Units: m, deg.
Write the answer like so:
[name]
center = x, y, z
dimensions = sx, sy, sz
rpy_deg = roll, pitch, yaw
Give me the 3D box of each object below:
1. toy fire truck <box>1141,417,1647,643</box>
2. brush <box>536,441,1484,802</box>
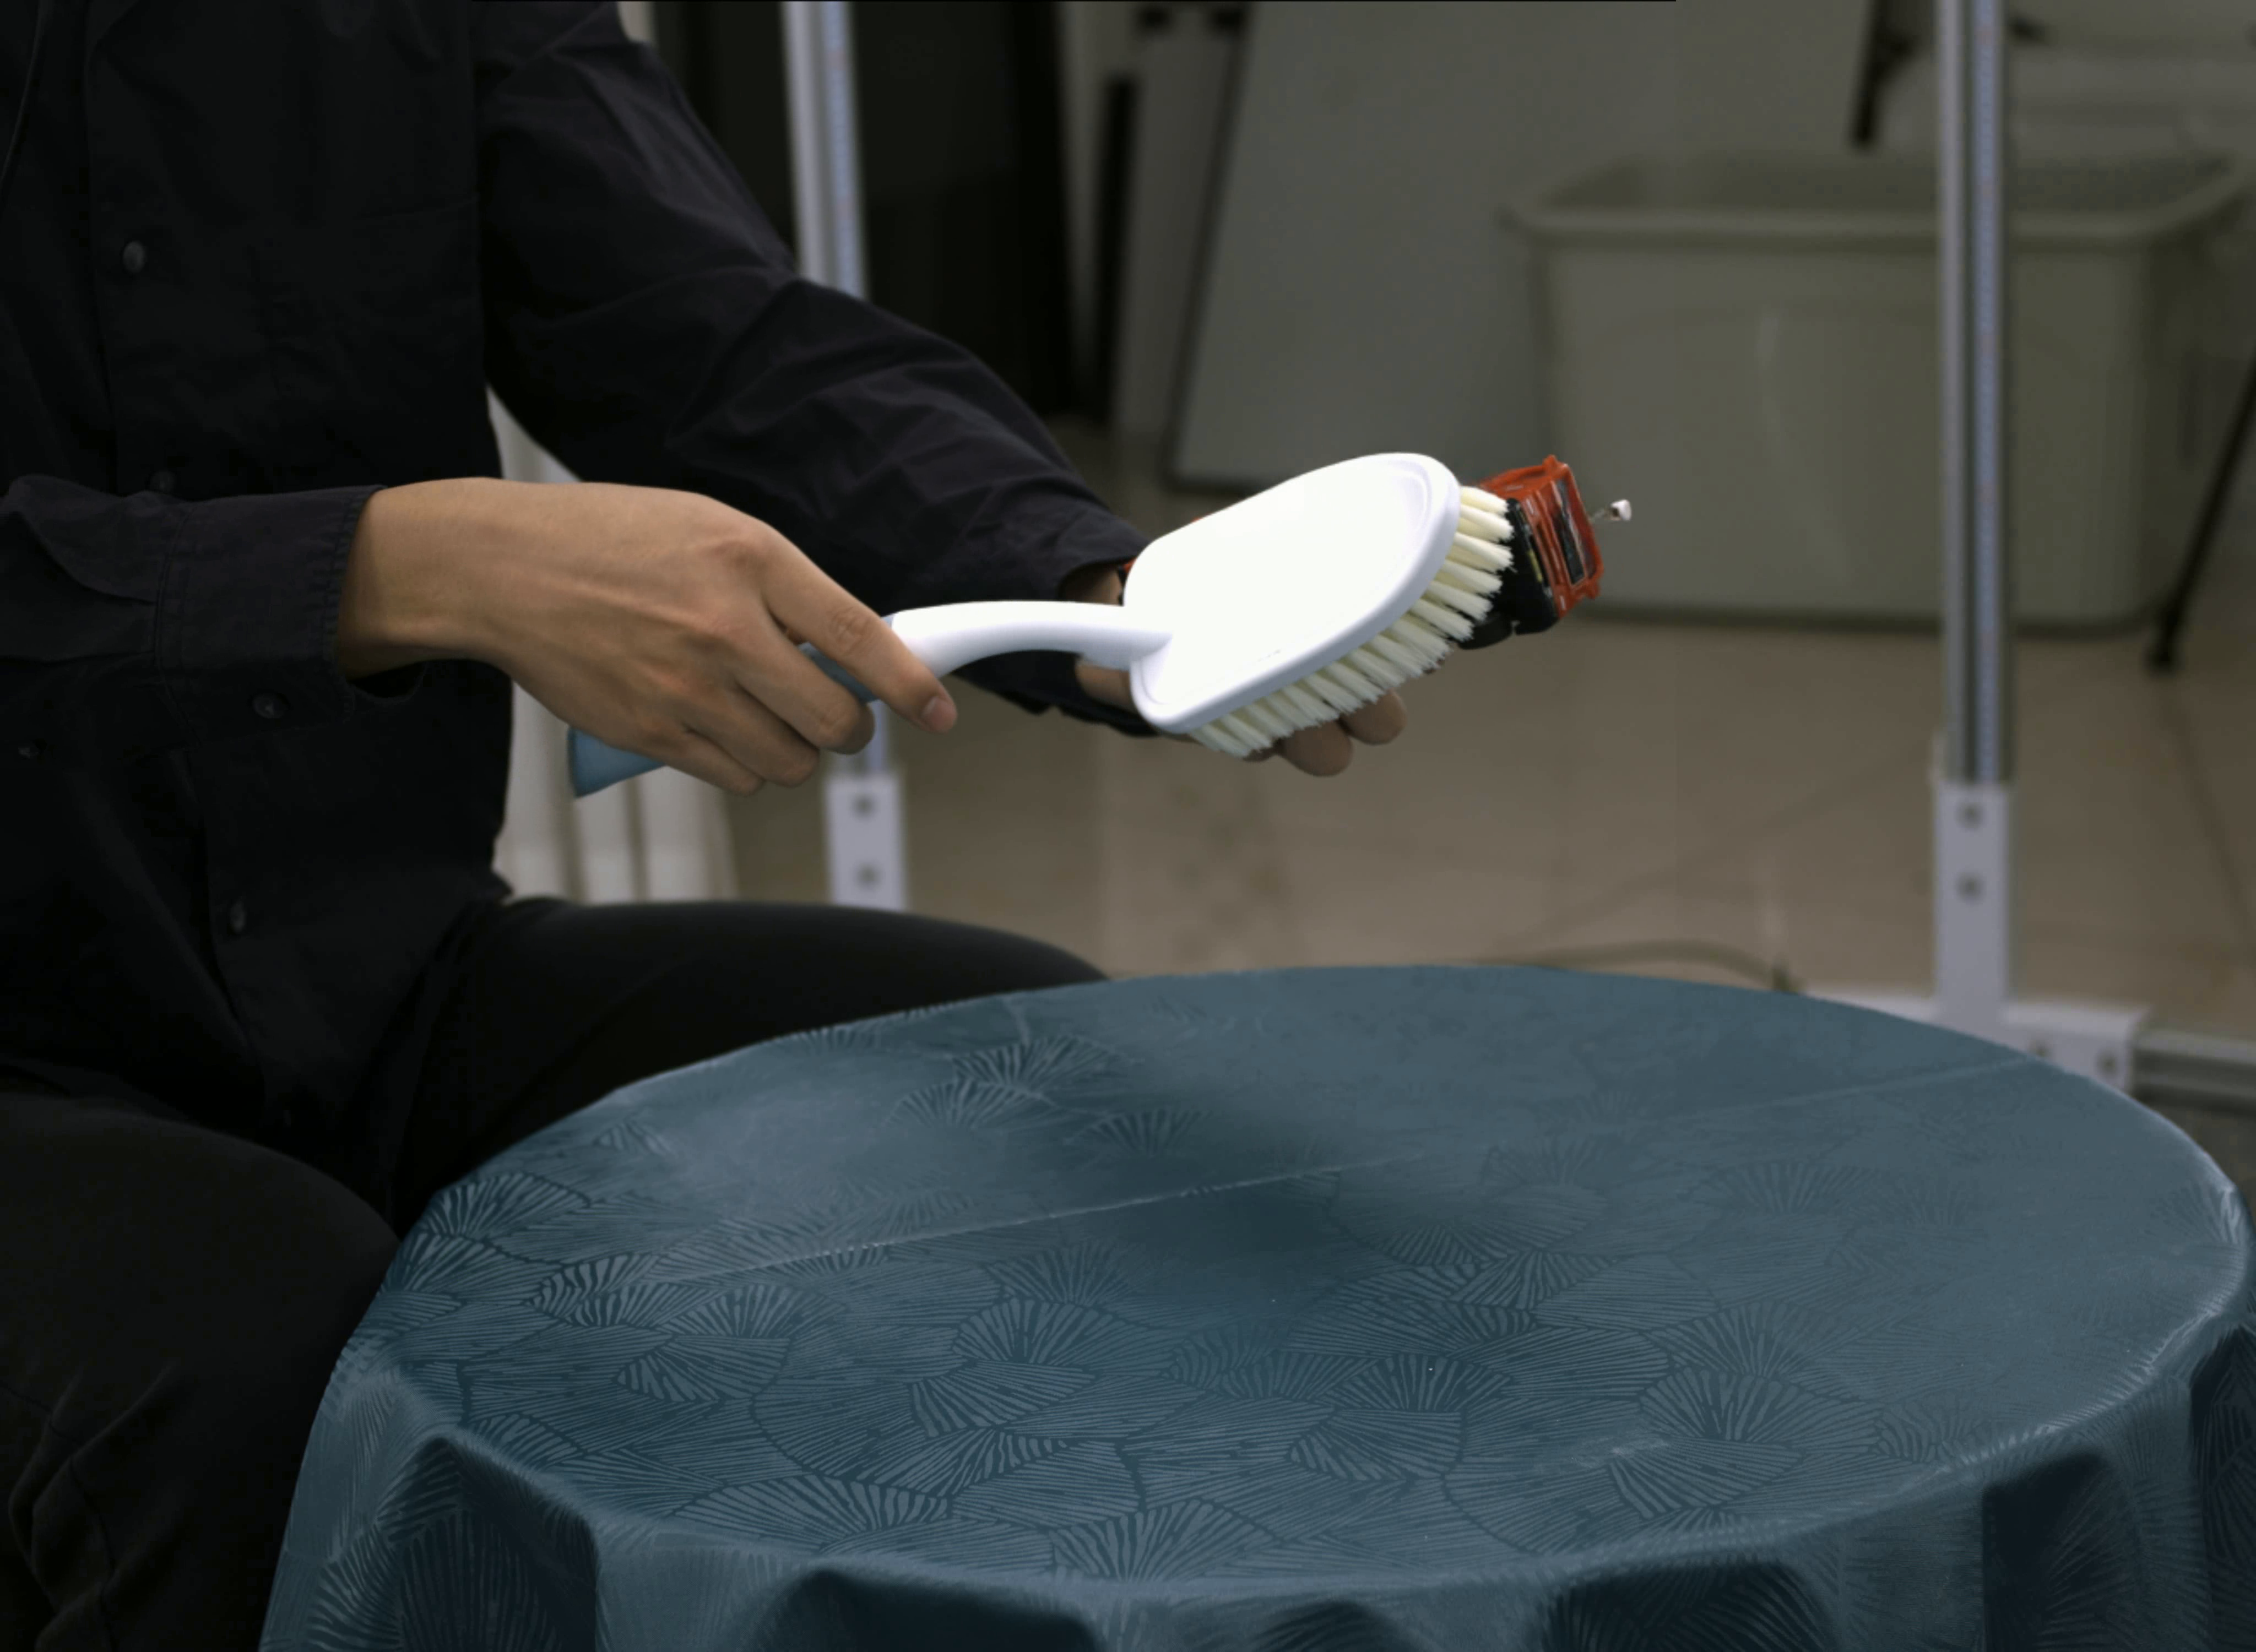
[toy fire truck]
center = 0.081, -0.090, 1.709
dimensions = 0.169, 0.054, 0.069
rpy_deg = -8, 20, 40
[brush]
center = -0.035, -0.052, 1.702
dimensions = 0.325, 0.084, 0.083
rpy_deg = -17, 23, 21
